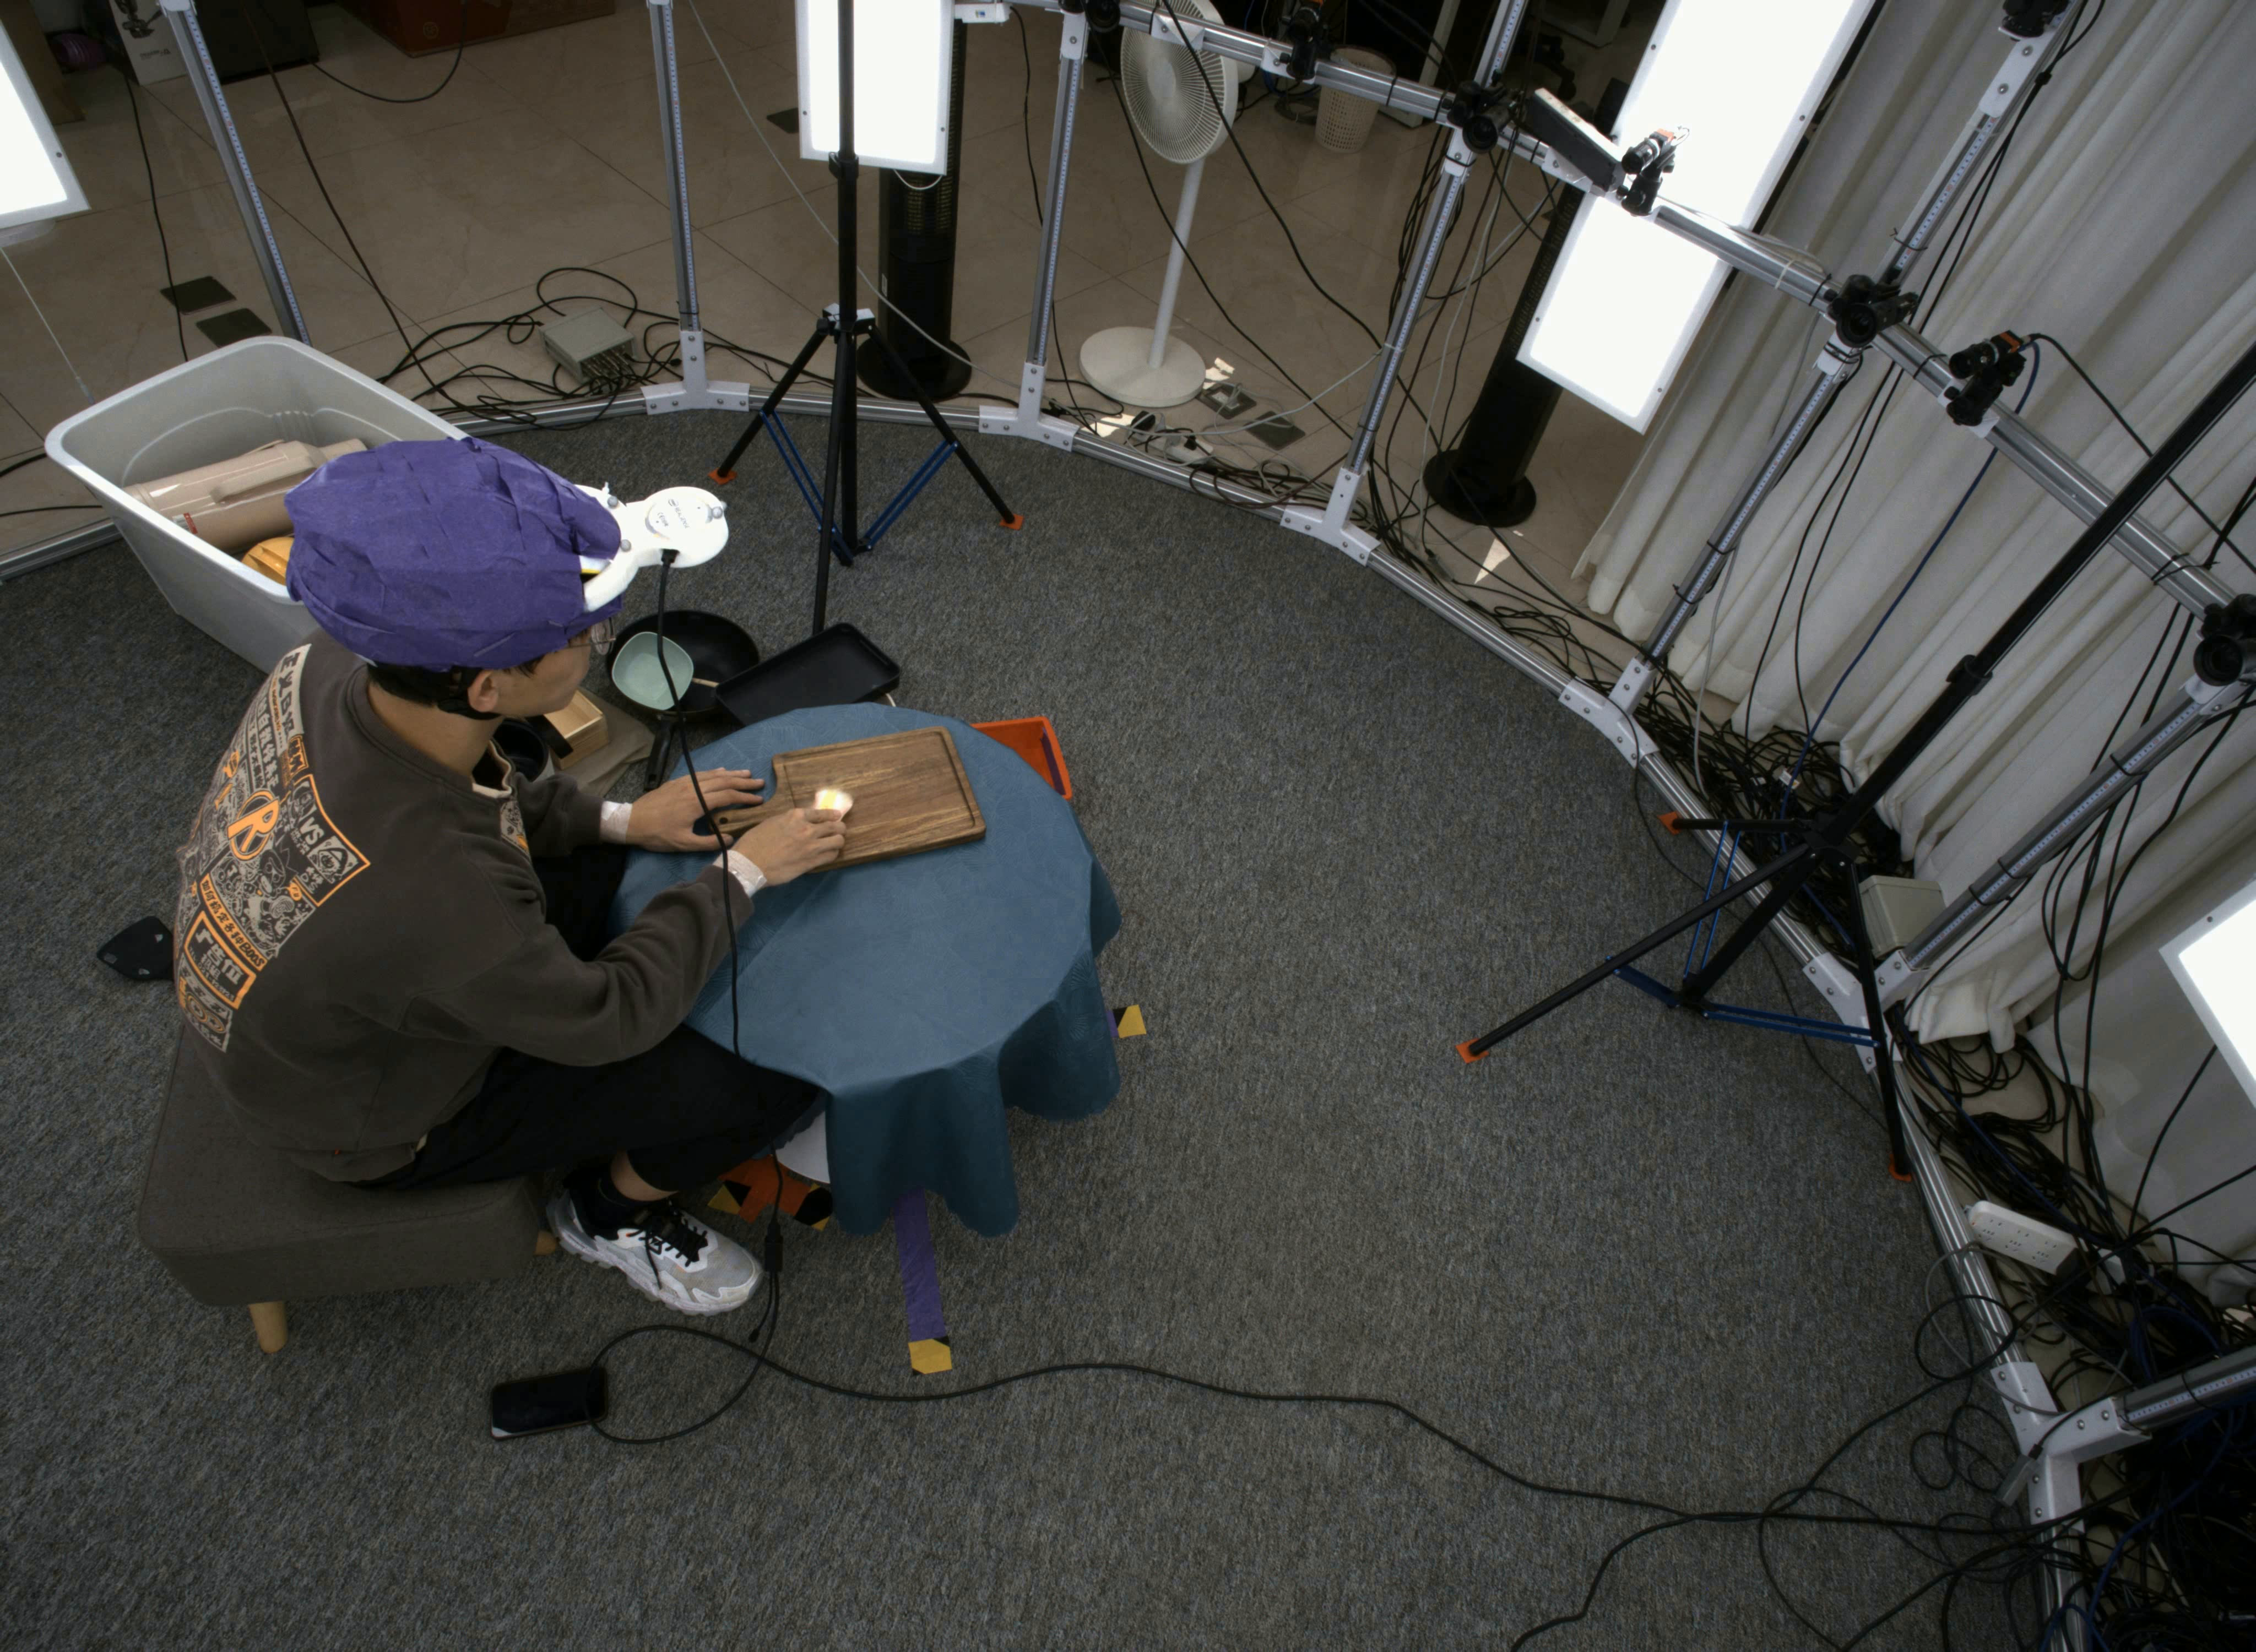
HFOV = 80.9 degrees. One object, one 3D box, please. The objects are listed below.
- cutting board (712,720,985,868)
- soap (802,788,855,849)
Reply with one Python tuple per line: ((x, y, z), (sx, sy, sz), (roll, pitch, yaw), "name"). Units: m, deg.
((-0.386, -0.040, 1.764), (0.353, 0.023, 0.196), (-11, 58, -21), "cutting board")
((-0.396, -0.012, 1.716), (0.050, 0.031, 0.093), (16, 52, -1), "soap")
